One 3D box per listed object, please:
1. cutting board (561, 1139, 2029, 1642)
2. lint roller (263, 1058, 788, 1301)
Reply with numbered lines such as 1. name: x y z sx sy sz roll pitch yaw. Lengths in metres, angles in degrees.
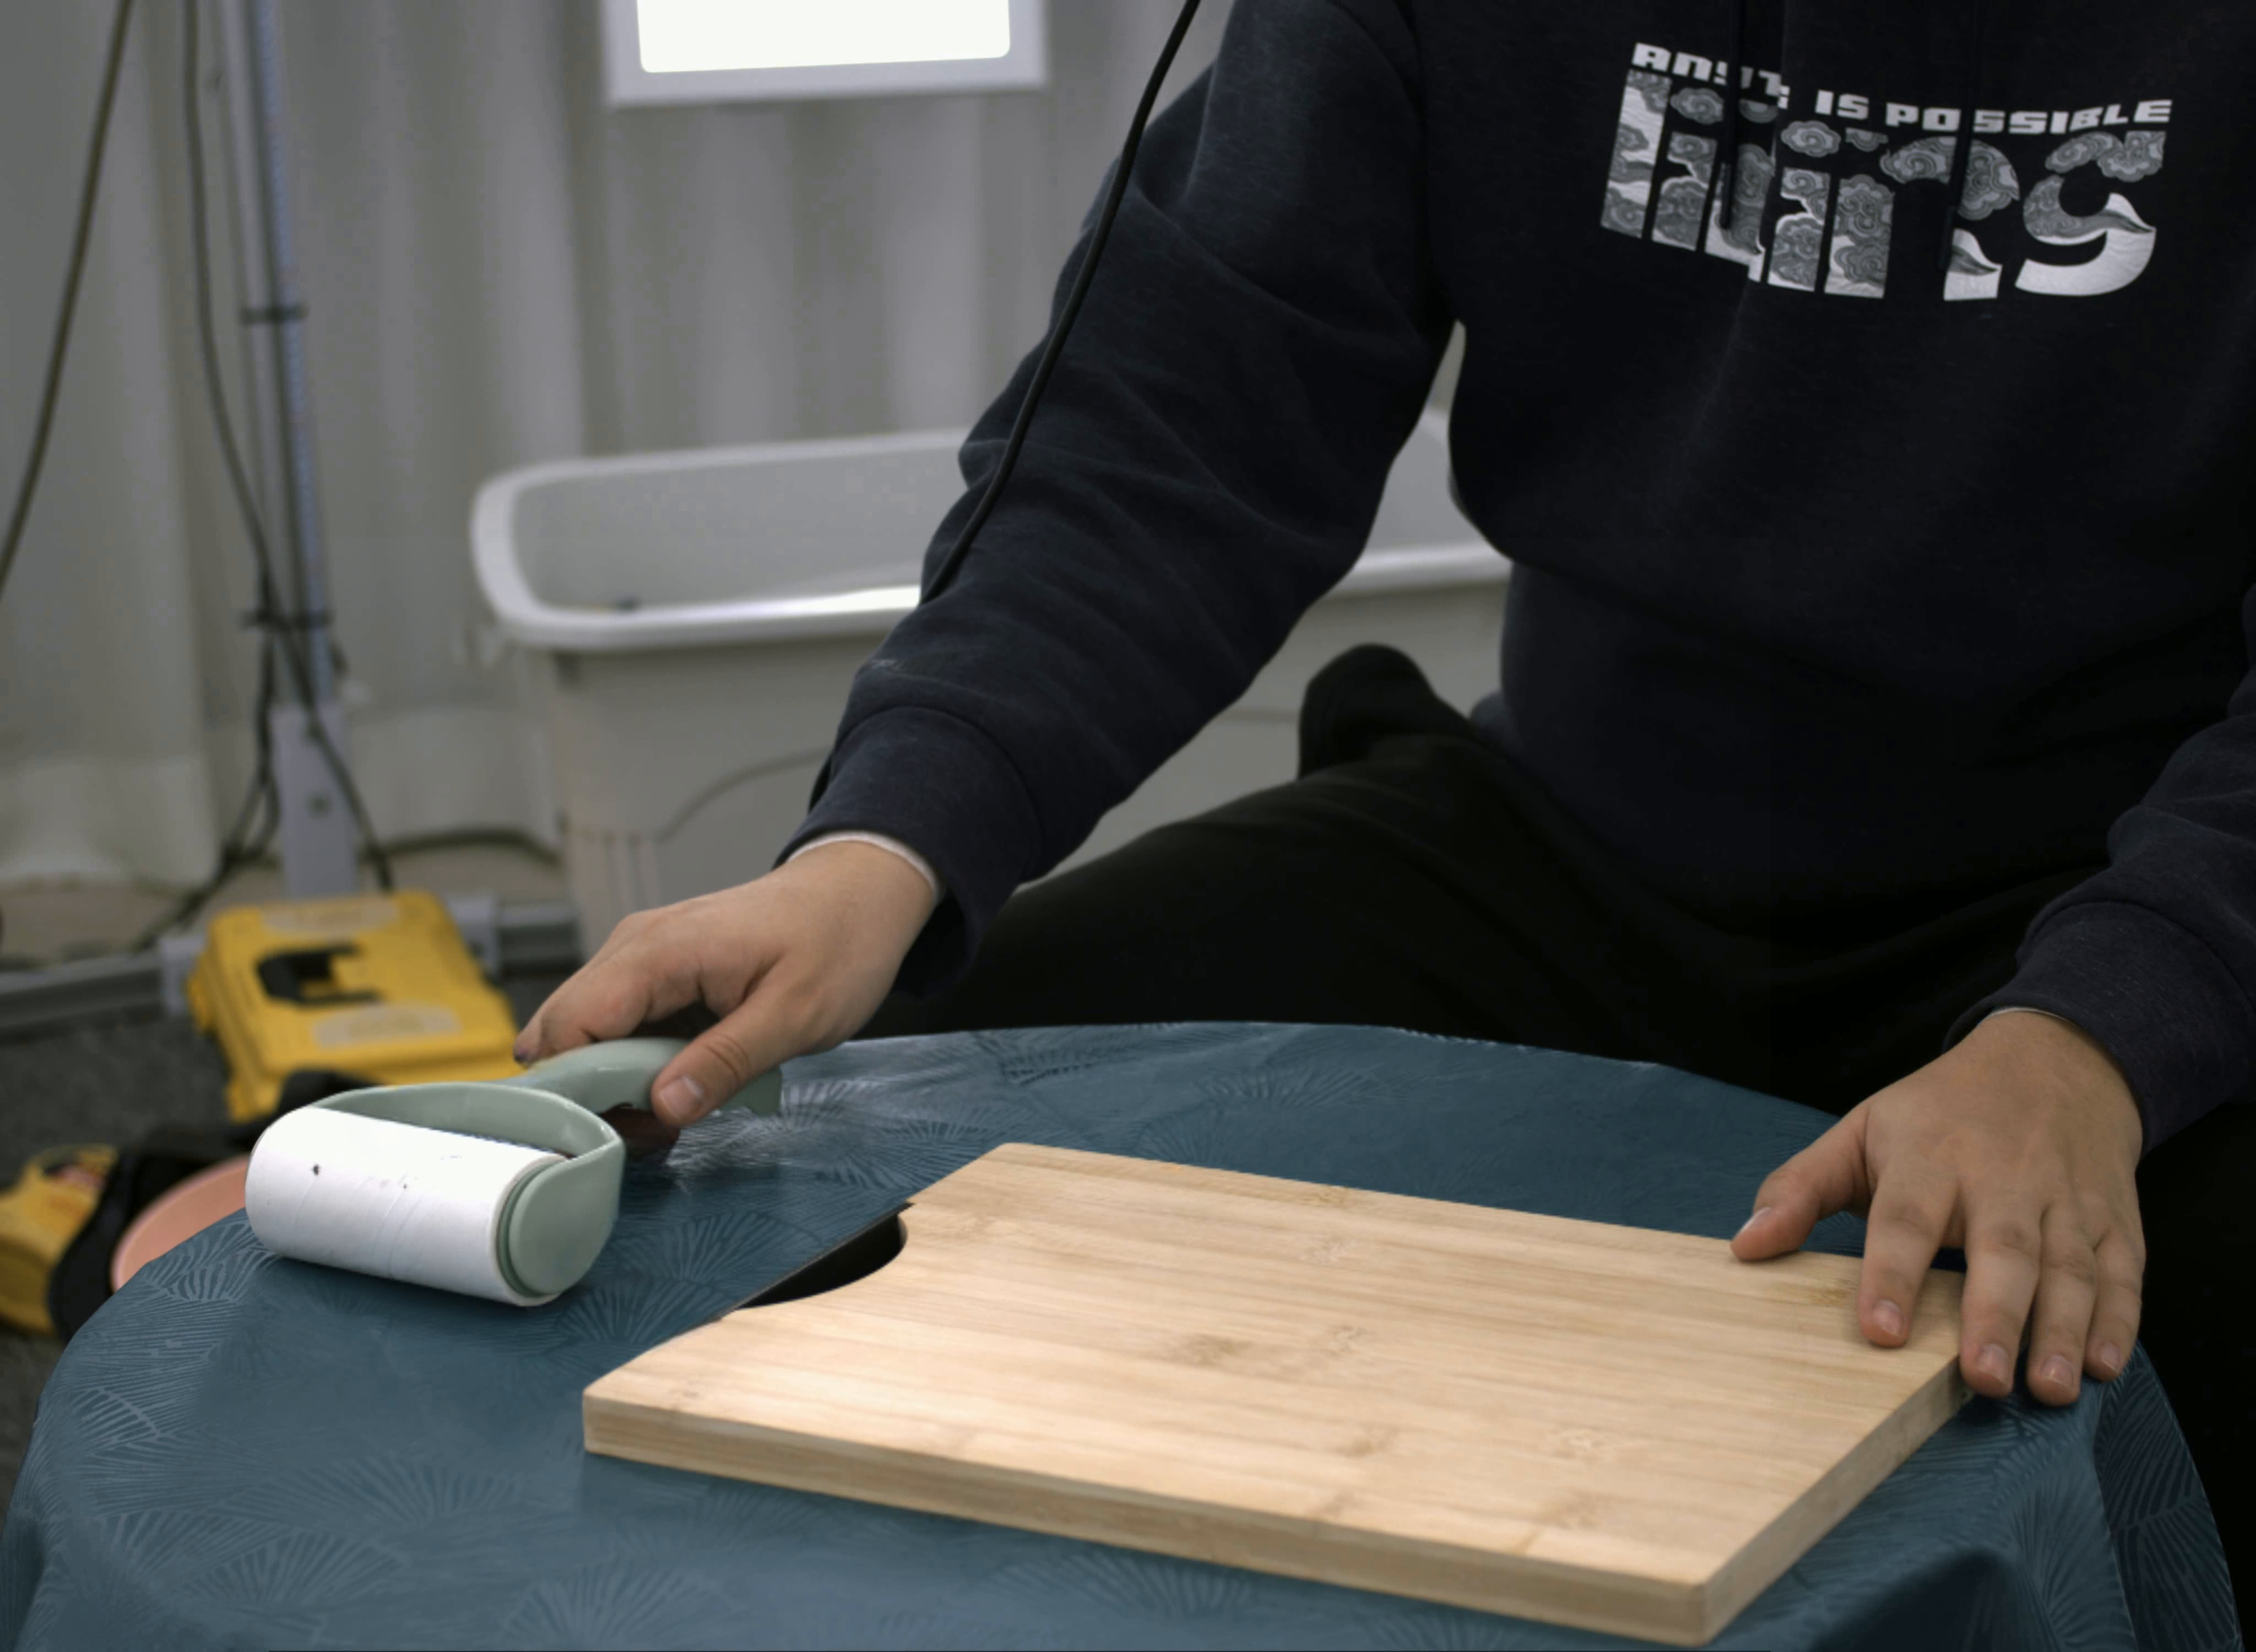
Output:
1. cutting board: 0.049 0.152 1.539 0.349 0.023 0.251 6 16 28
2. lint roller: -0.167 0.099 1.715 0.117 0.048 0.197 5 15 34
